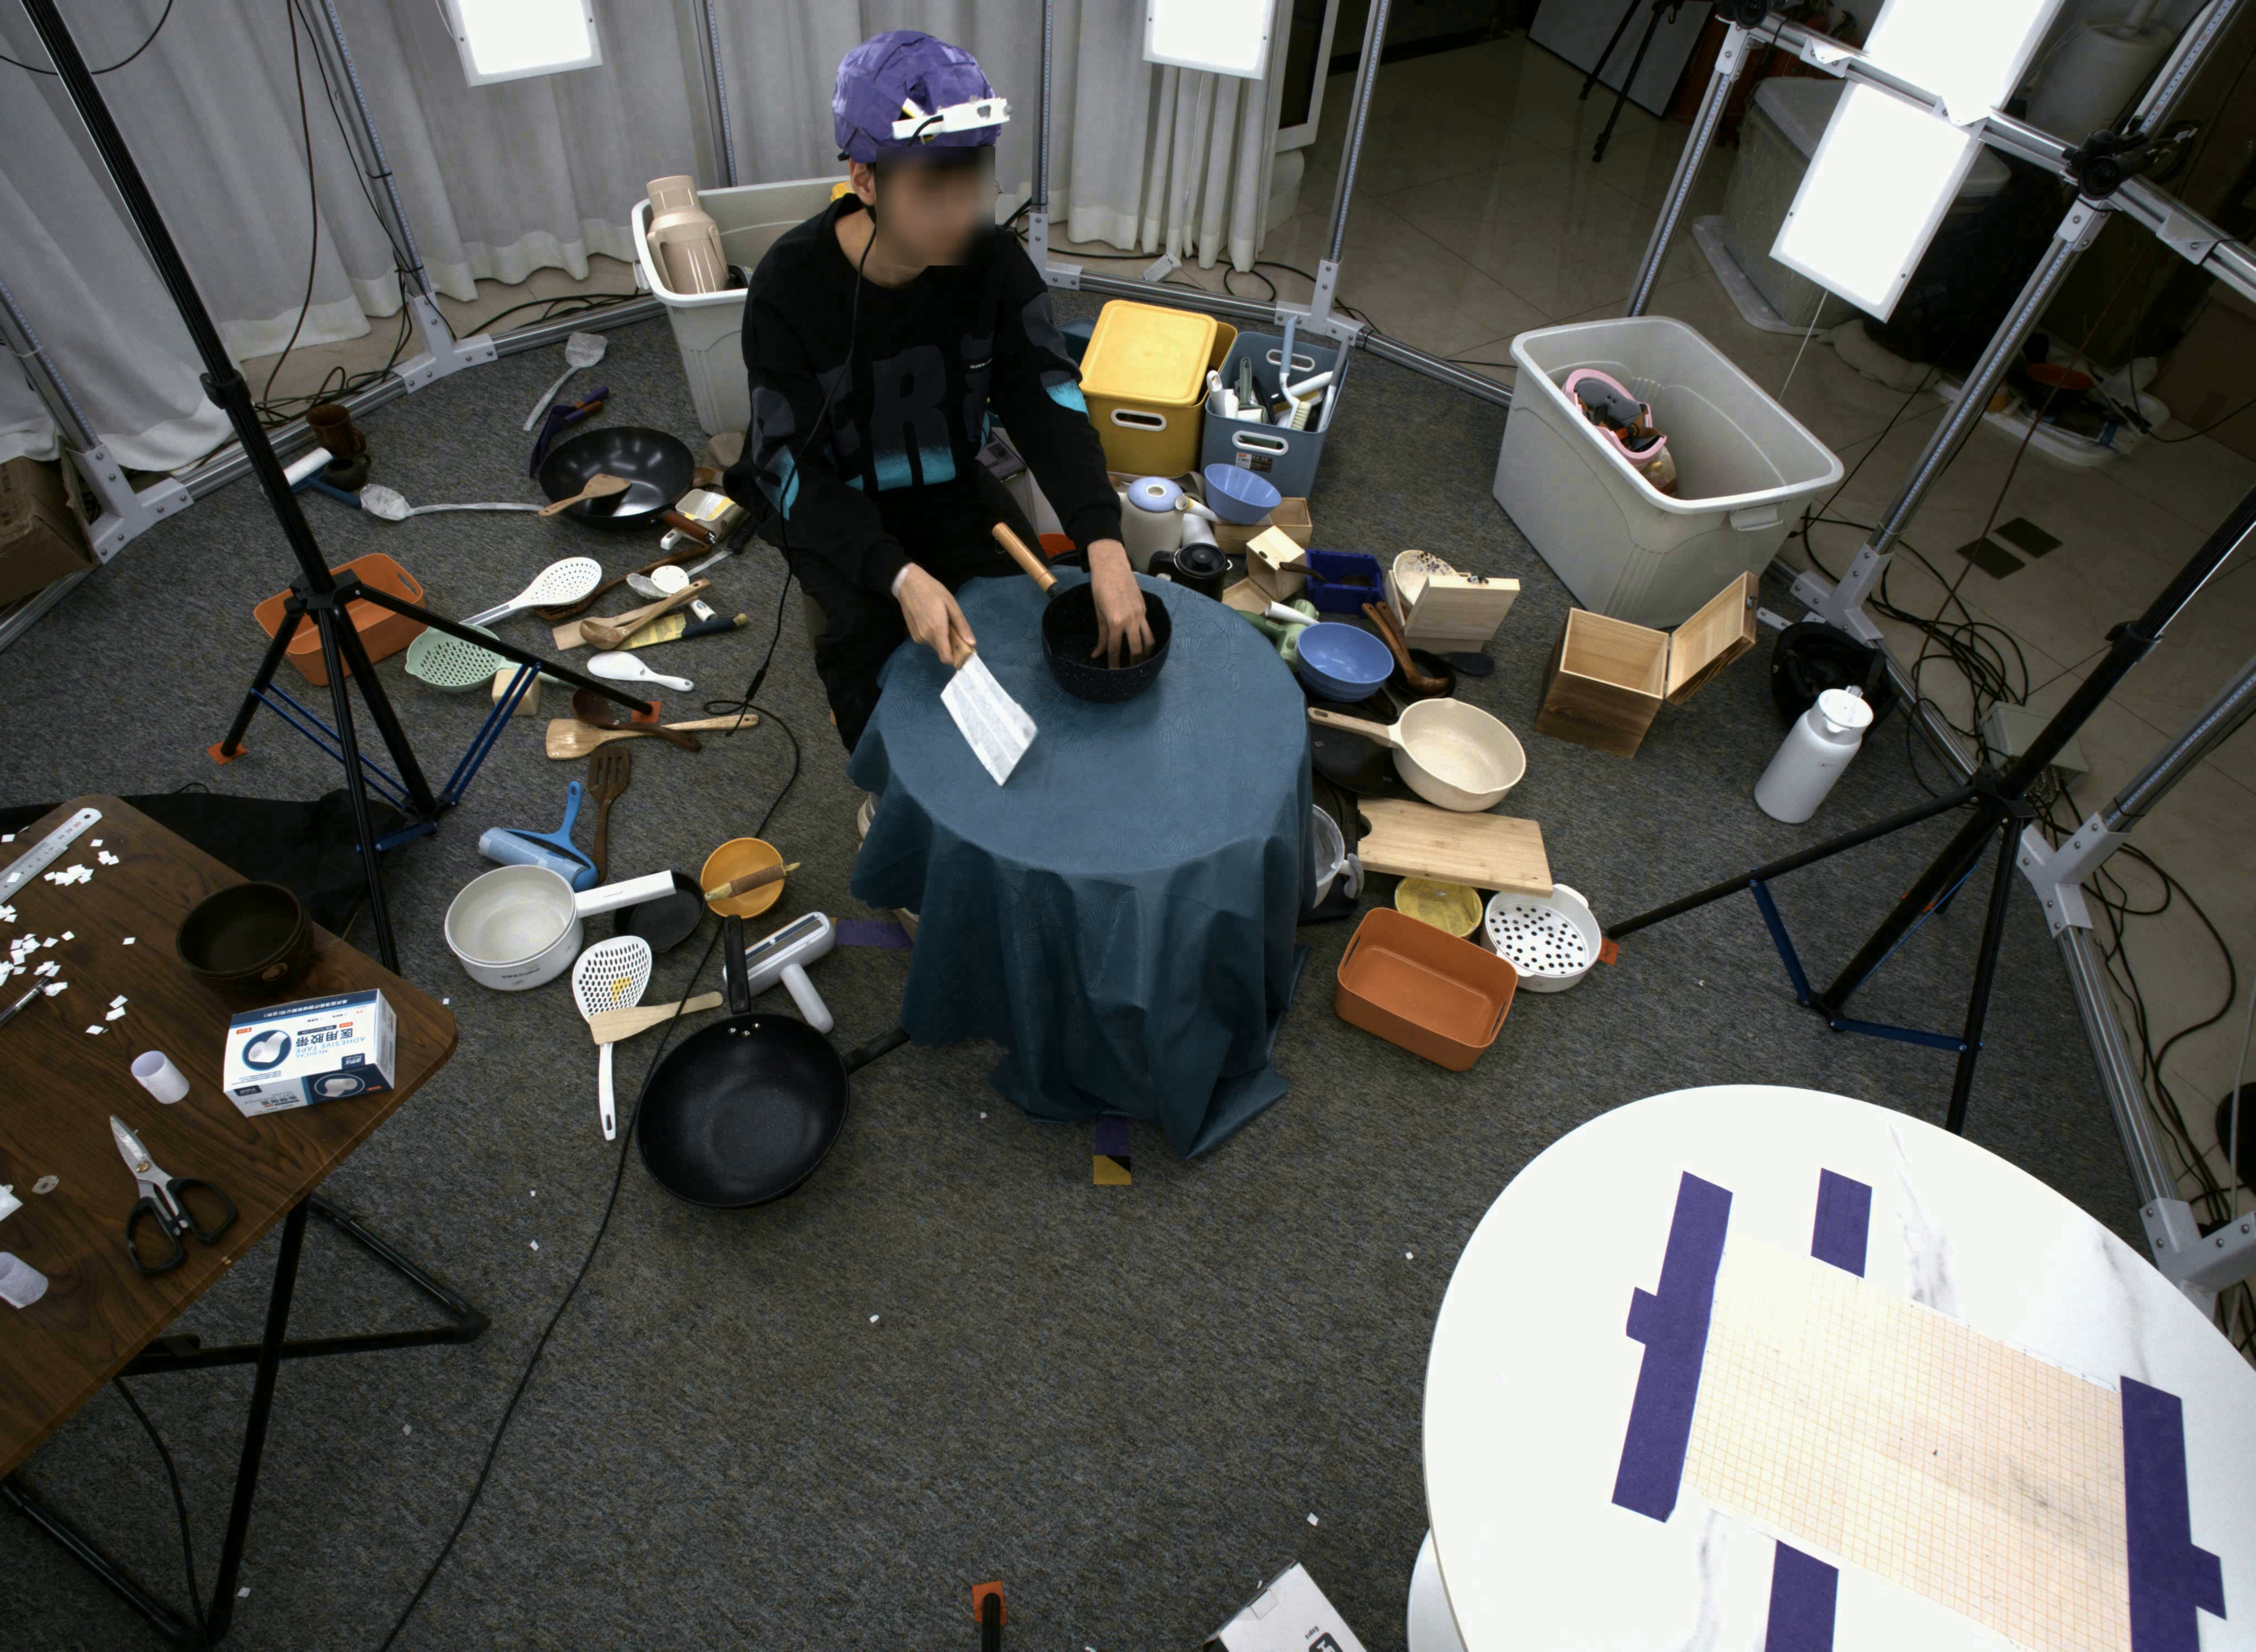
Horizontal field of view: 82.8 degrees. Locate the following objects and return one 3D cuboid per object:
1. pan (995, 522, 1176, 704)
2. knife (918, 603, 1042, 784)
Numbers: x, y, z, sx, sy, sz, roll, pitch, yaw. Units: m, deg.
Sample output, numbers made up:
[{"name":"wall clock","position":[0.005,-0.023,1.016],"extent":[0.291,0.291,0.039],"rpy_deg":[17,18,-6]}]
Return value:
[{"name":"pan","position":[-0.081,-0.311,1.863],"extent":[0.209,0.105,0.348],"rpy_deg":[-34,60,-27]},{"name":"knife","position":[-0.211,-0.196,1.768],"extent":[0.021,0.113,0.322],"rpy_deg":[18,33,-52]}]
